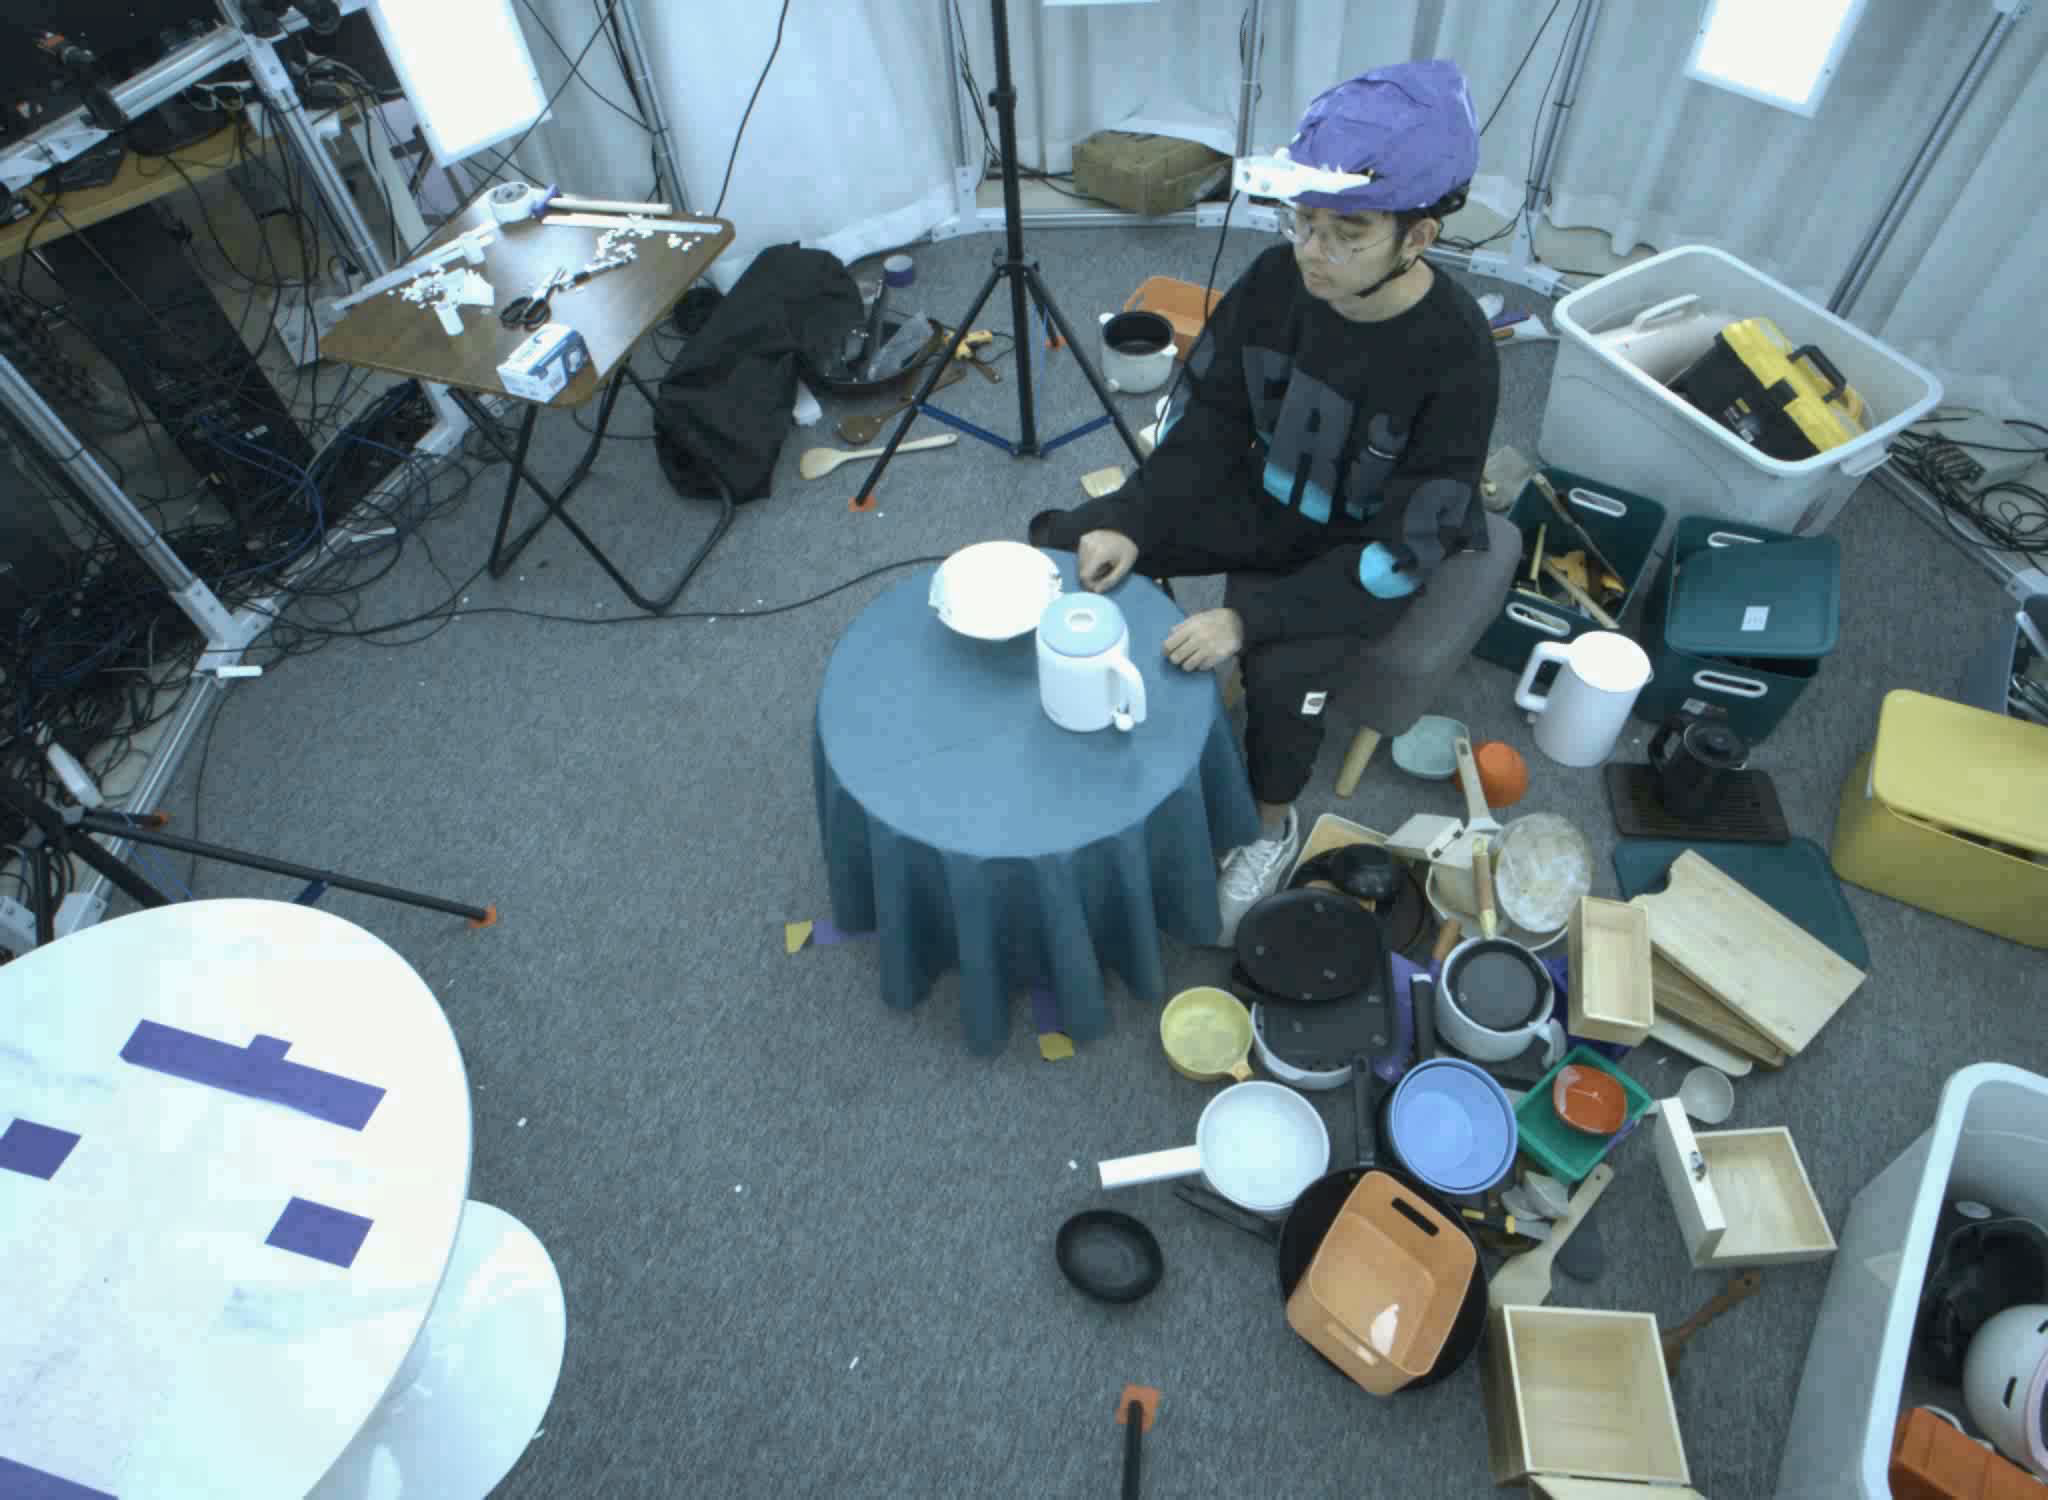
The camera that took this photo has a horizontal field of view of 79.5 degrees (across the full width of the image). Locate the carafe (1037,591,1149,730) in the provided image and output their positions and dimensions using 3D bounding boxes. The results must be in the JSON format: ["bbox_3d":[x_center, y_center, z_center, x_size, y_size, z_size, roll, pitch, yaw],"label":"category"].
[{"bbox_3d":[0.103,-0.113,1.755,0.188,0.184,0.133,39,66,24],"label":"carafe"}]

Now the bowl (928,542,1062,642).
[{"bbox_3d":[-0.044,-0.225,1.898,0.204,0.078,0.202,1,53,0],"label":"bowl"}]
